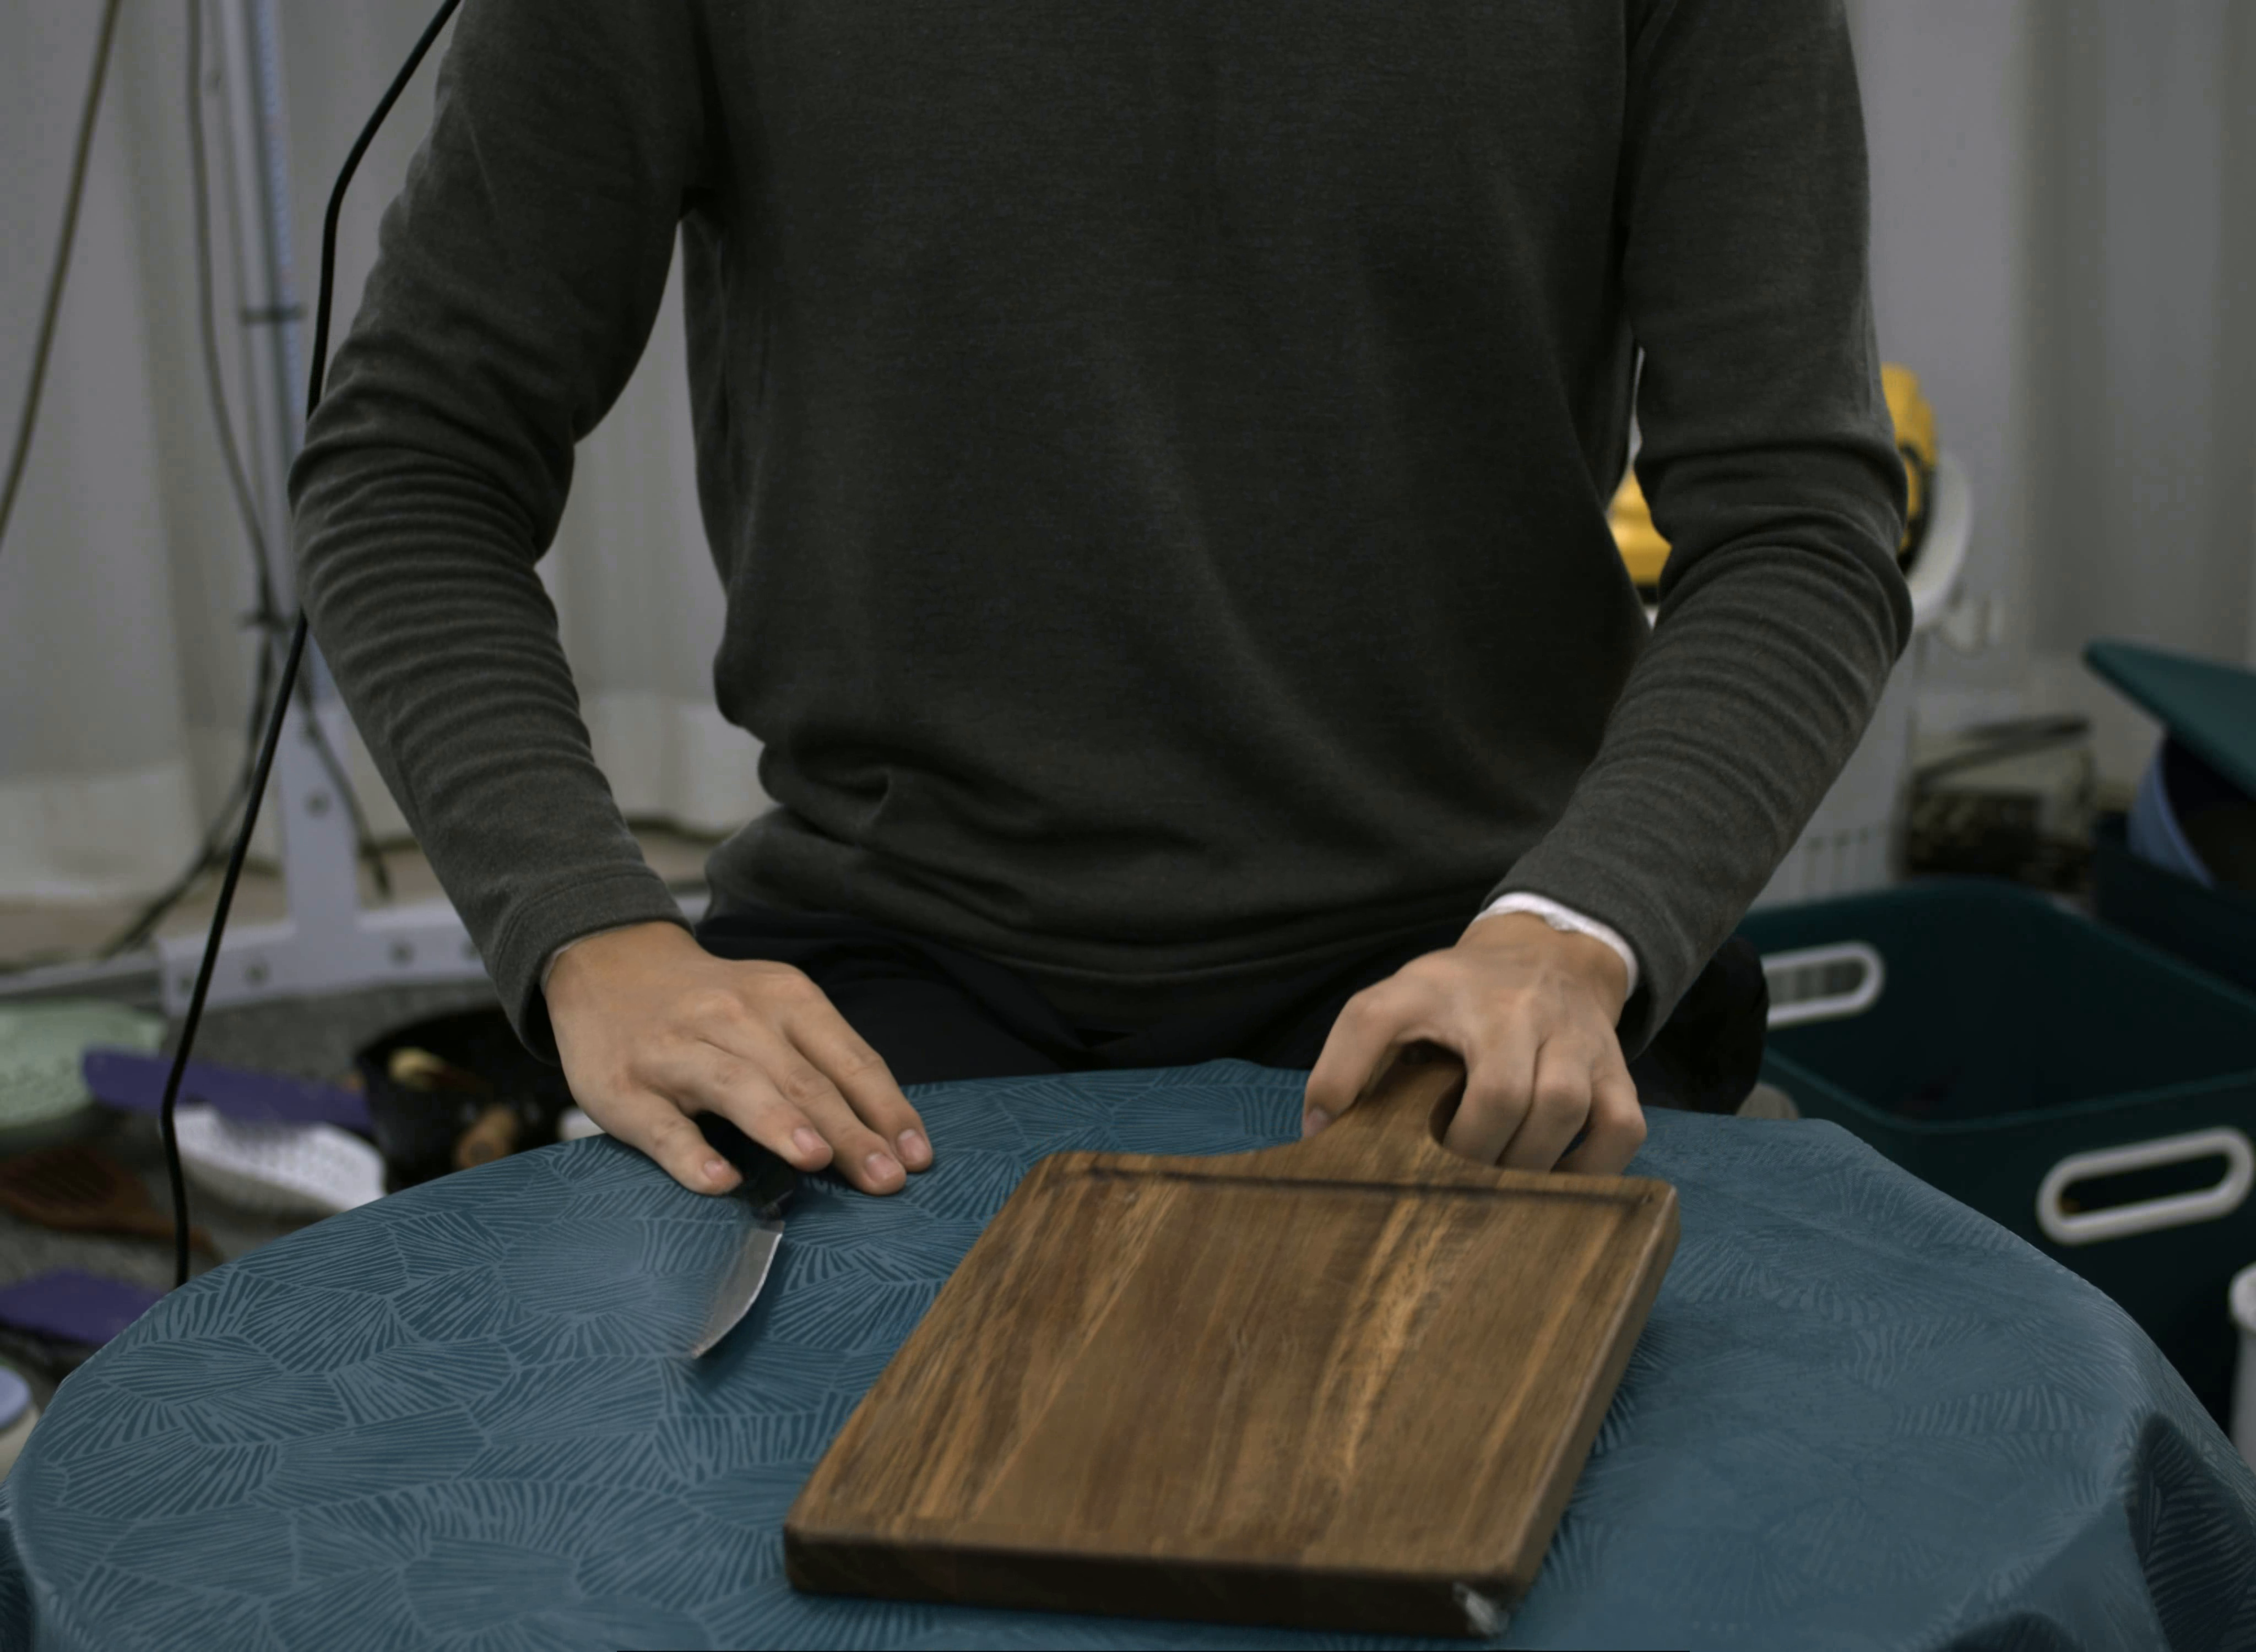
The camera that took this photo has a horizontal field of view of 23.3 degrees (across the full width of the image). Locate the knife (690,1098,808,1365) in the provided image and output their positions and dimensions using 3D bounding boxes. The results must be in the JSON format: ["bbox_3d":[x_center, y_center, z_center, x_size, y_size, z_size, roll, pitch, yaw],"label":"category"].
[{"bbox_3d":[-0.118,0.124,1.674,0.024,0.016,0.239,2,14,1],"label":"knife"}]

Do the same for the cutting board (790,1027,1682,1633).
[{"bbox_3d":[0.049,0.132,1.543,0.201,0.023,0.354,1,20,16],"label":"cutting board"}]
